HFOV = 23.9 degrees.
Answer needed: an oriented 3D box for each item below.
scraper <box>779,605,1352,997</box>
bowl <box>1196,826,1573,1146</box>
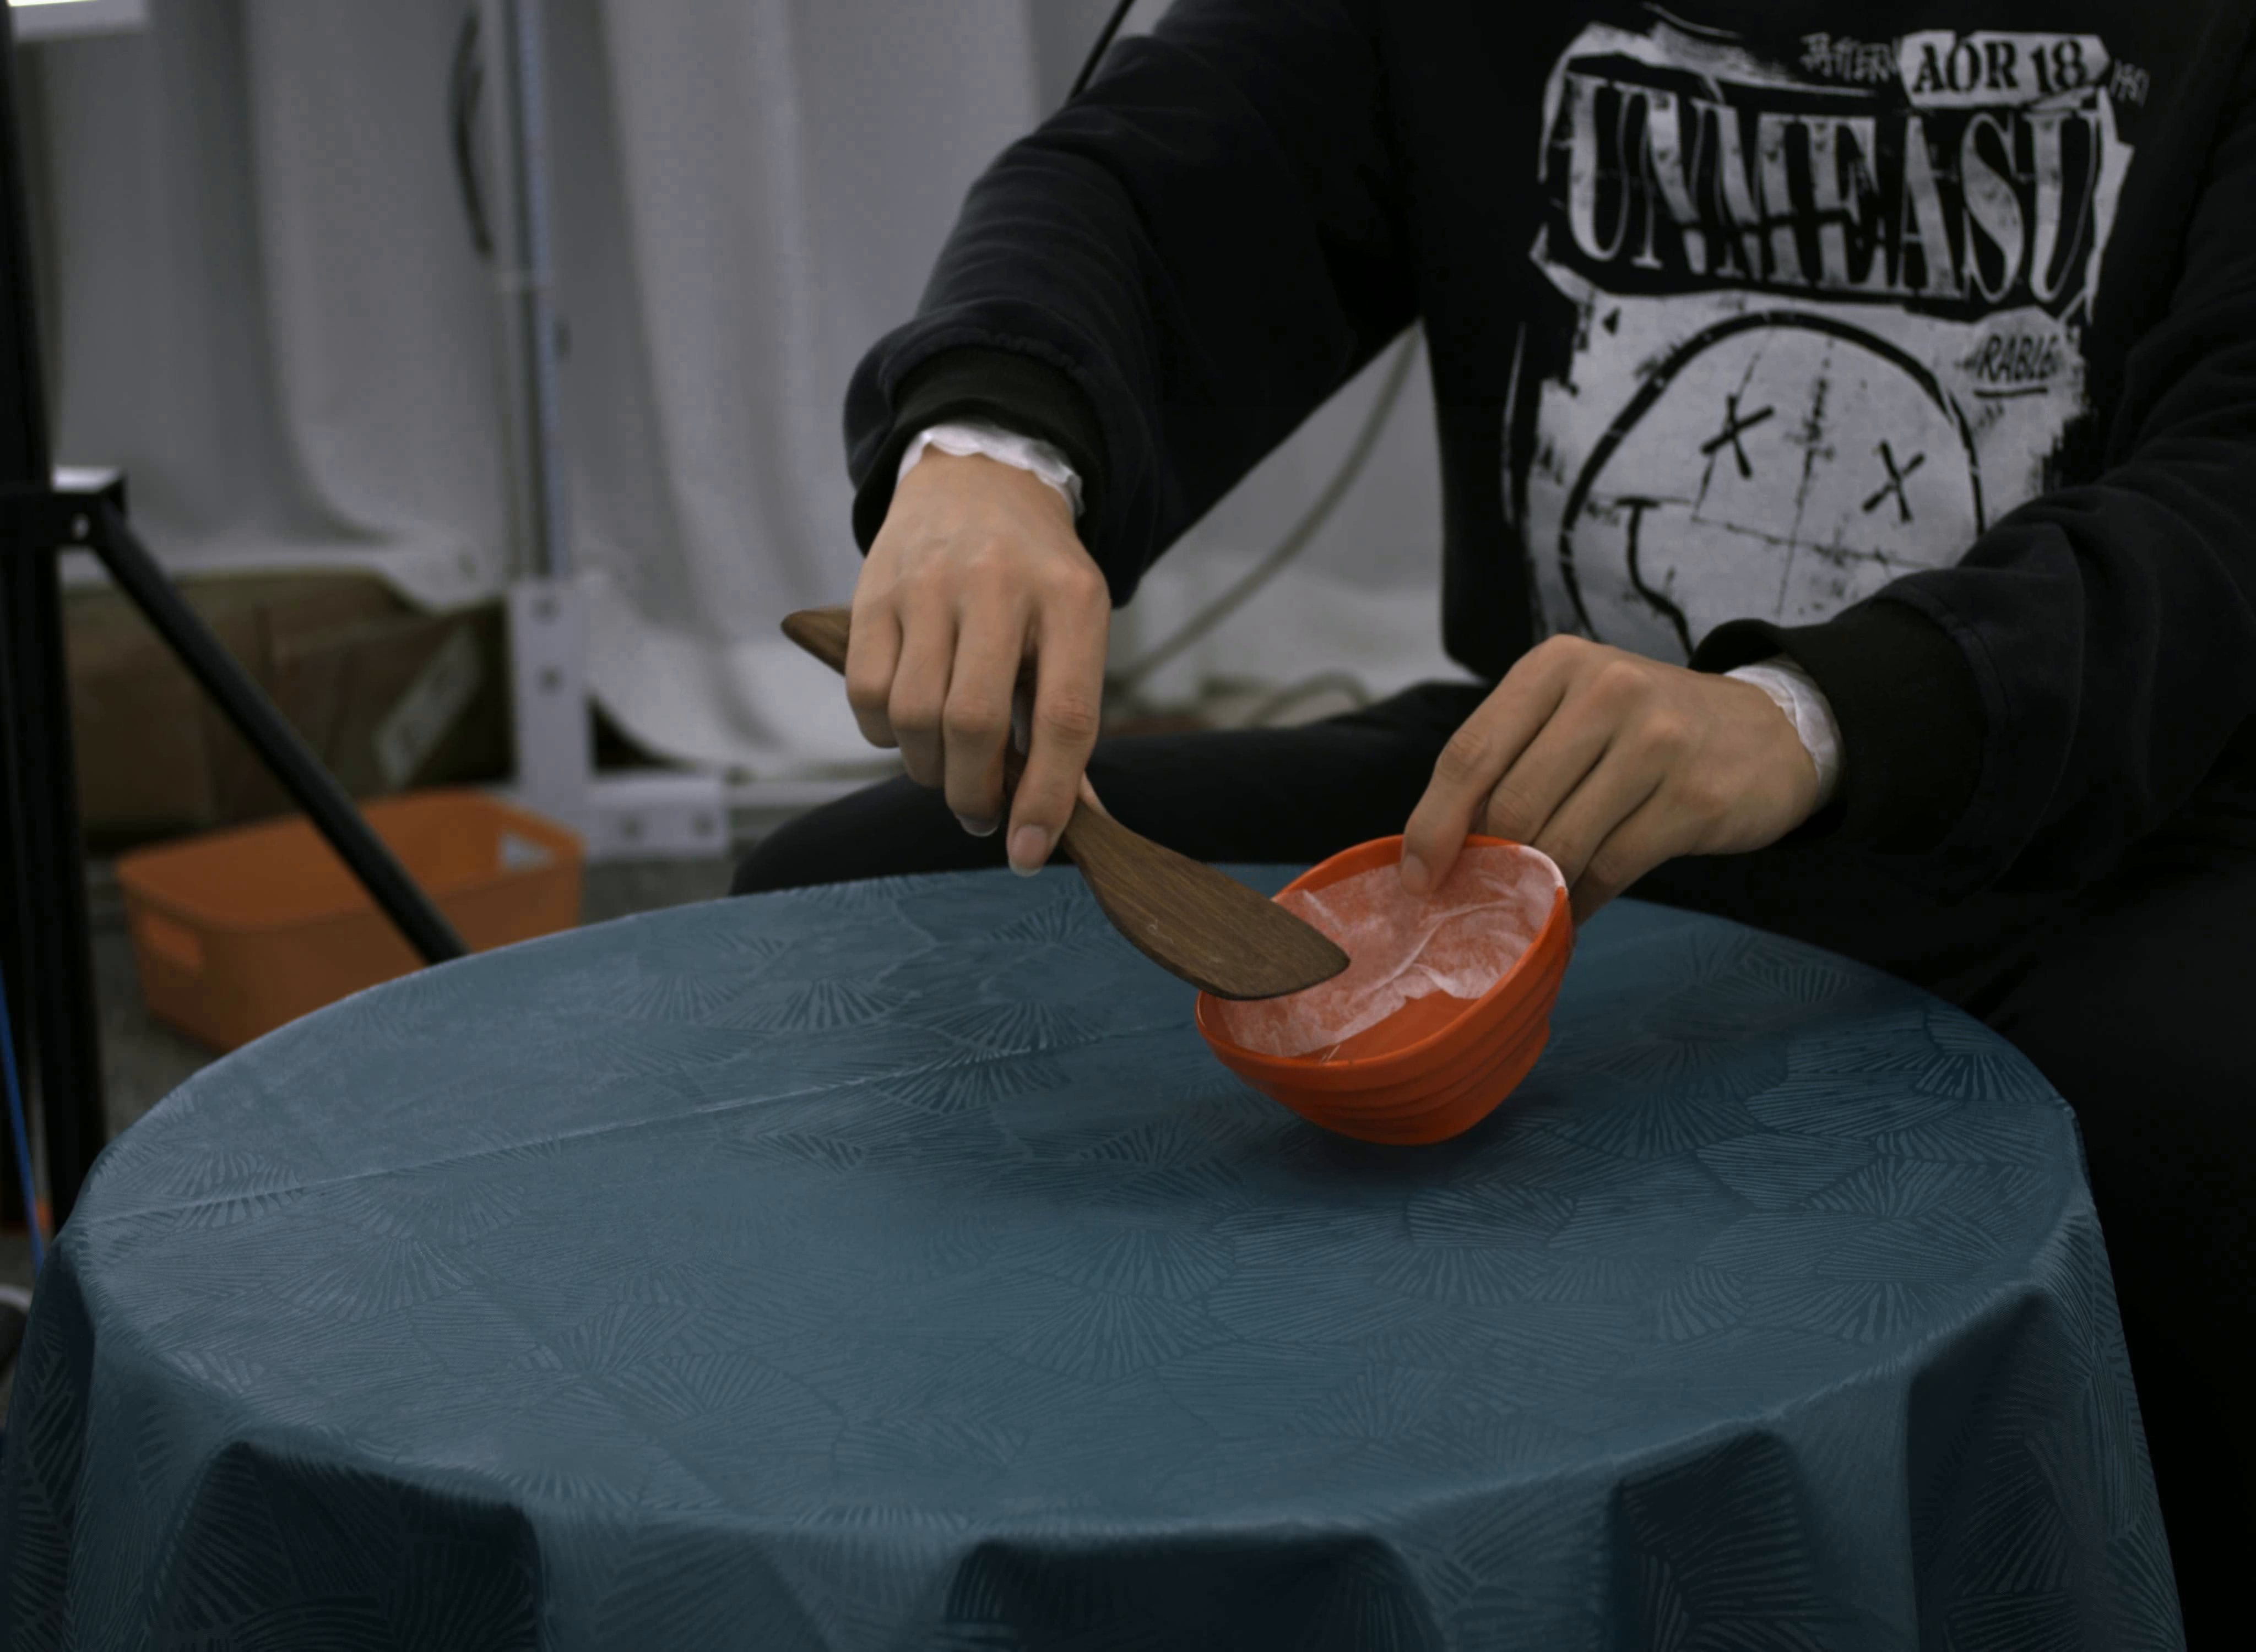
[{"bbox_3d":[-0.025,-0.009,1.609,0.215,0.011,0.074,37,27,25],"label":"scraper"},{"bbox_3d":[0.084,0.055,1.595,0.119,0.050,0.120,-20,32,11],"label":"bowl"}]
